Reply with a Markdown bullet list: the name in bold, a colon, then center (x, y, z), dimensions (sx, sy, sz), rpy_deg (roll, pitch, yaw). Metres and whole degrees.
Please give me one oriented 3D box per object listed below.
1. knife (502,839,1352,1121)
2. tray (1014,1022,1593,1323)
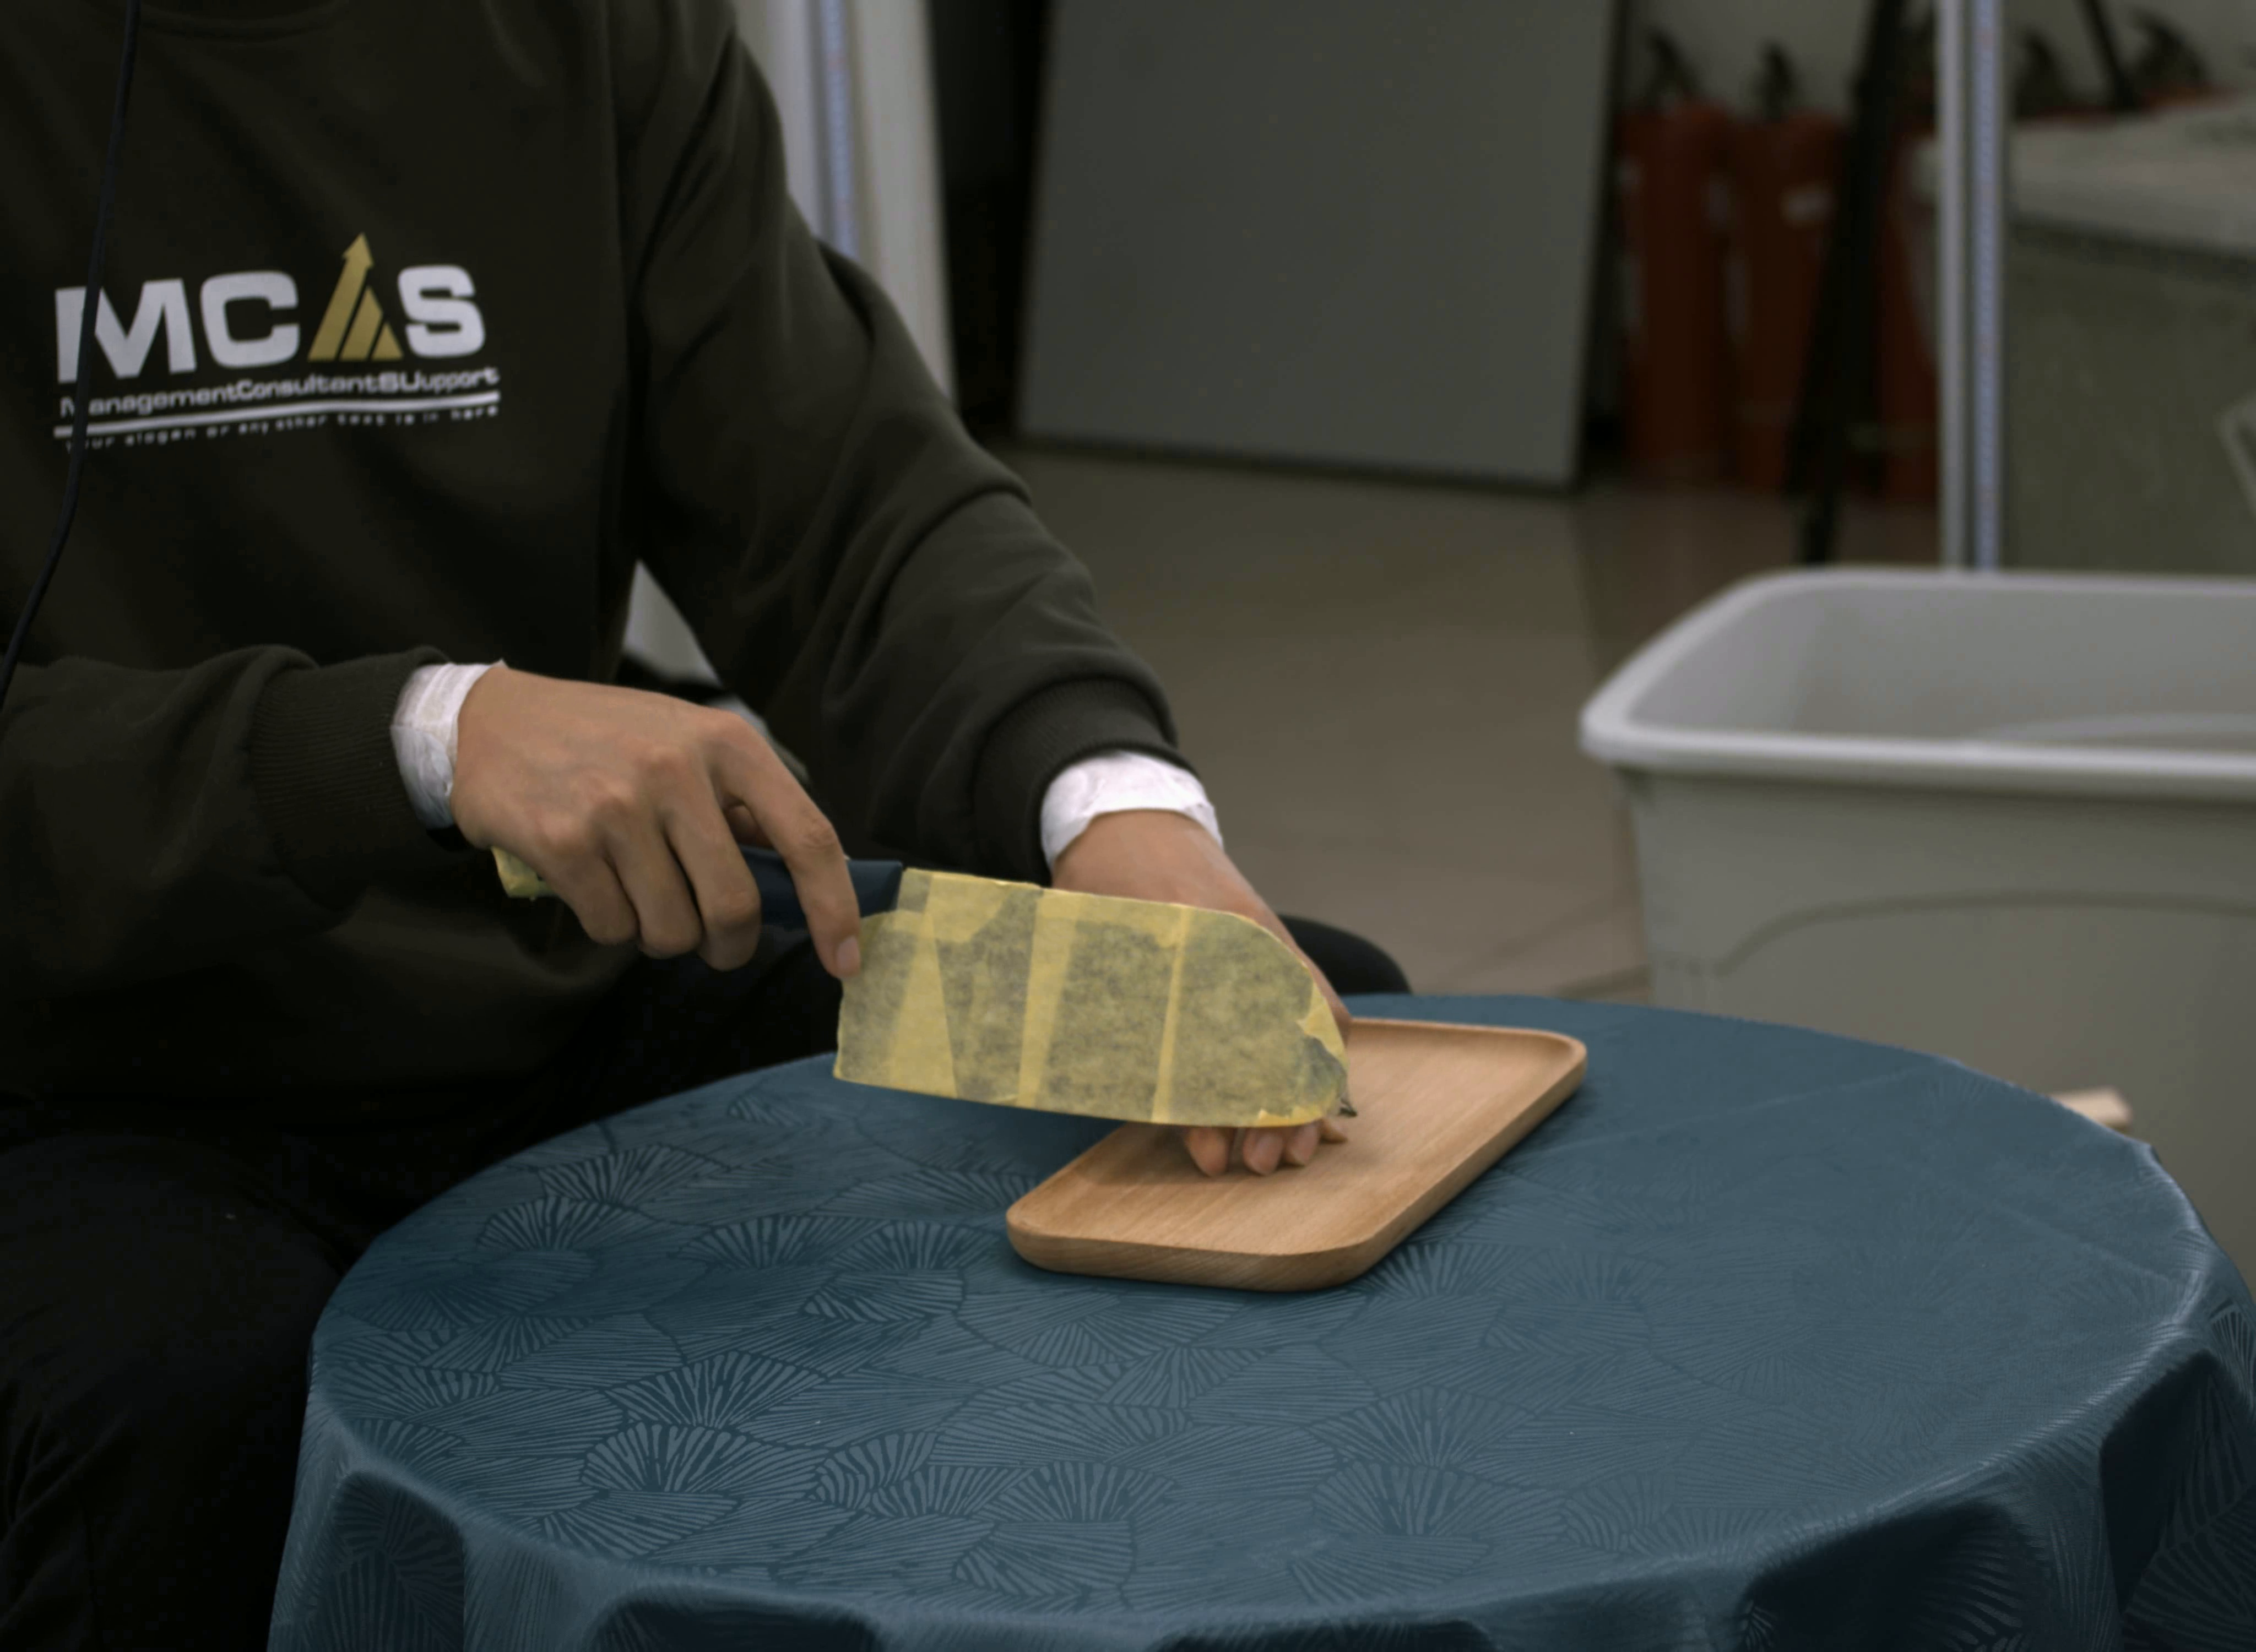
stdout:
- **knife**: center (-0.066, 0.049, 1.759), dimensions (0.287, 0.082, 0.027), rpy_deg (10, -5, 7)
- **tray**: center (0.062, 0.112, 1.780), dimensions (0.131, 0.023, 0.248), rpy_deg (-1, 17, 26)
